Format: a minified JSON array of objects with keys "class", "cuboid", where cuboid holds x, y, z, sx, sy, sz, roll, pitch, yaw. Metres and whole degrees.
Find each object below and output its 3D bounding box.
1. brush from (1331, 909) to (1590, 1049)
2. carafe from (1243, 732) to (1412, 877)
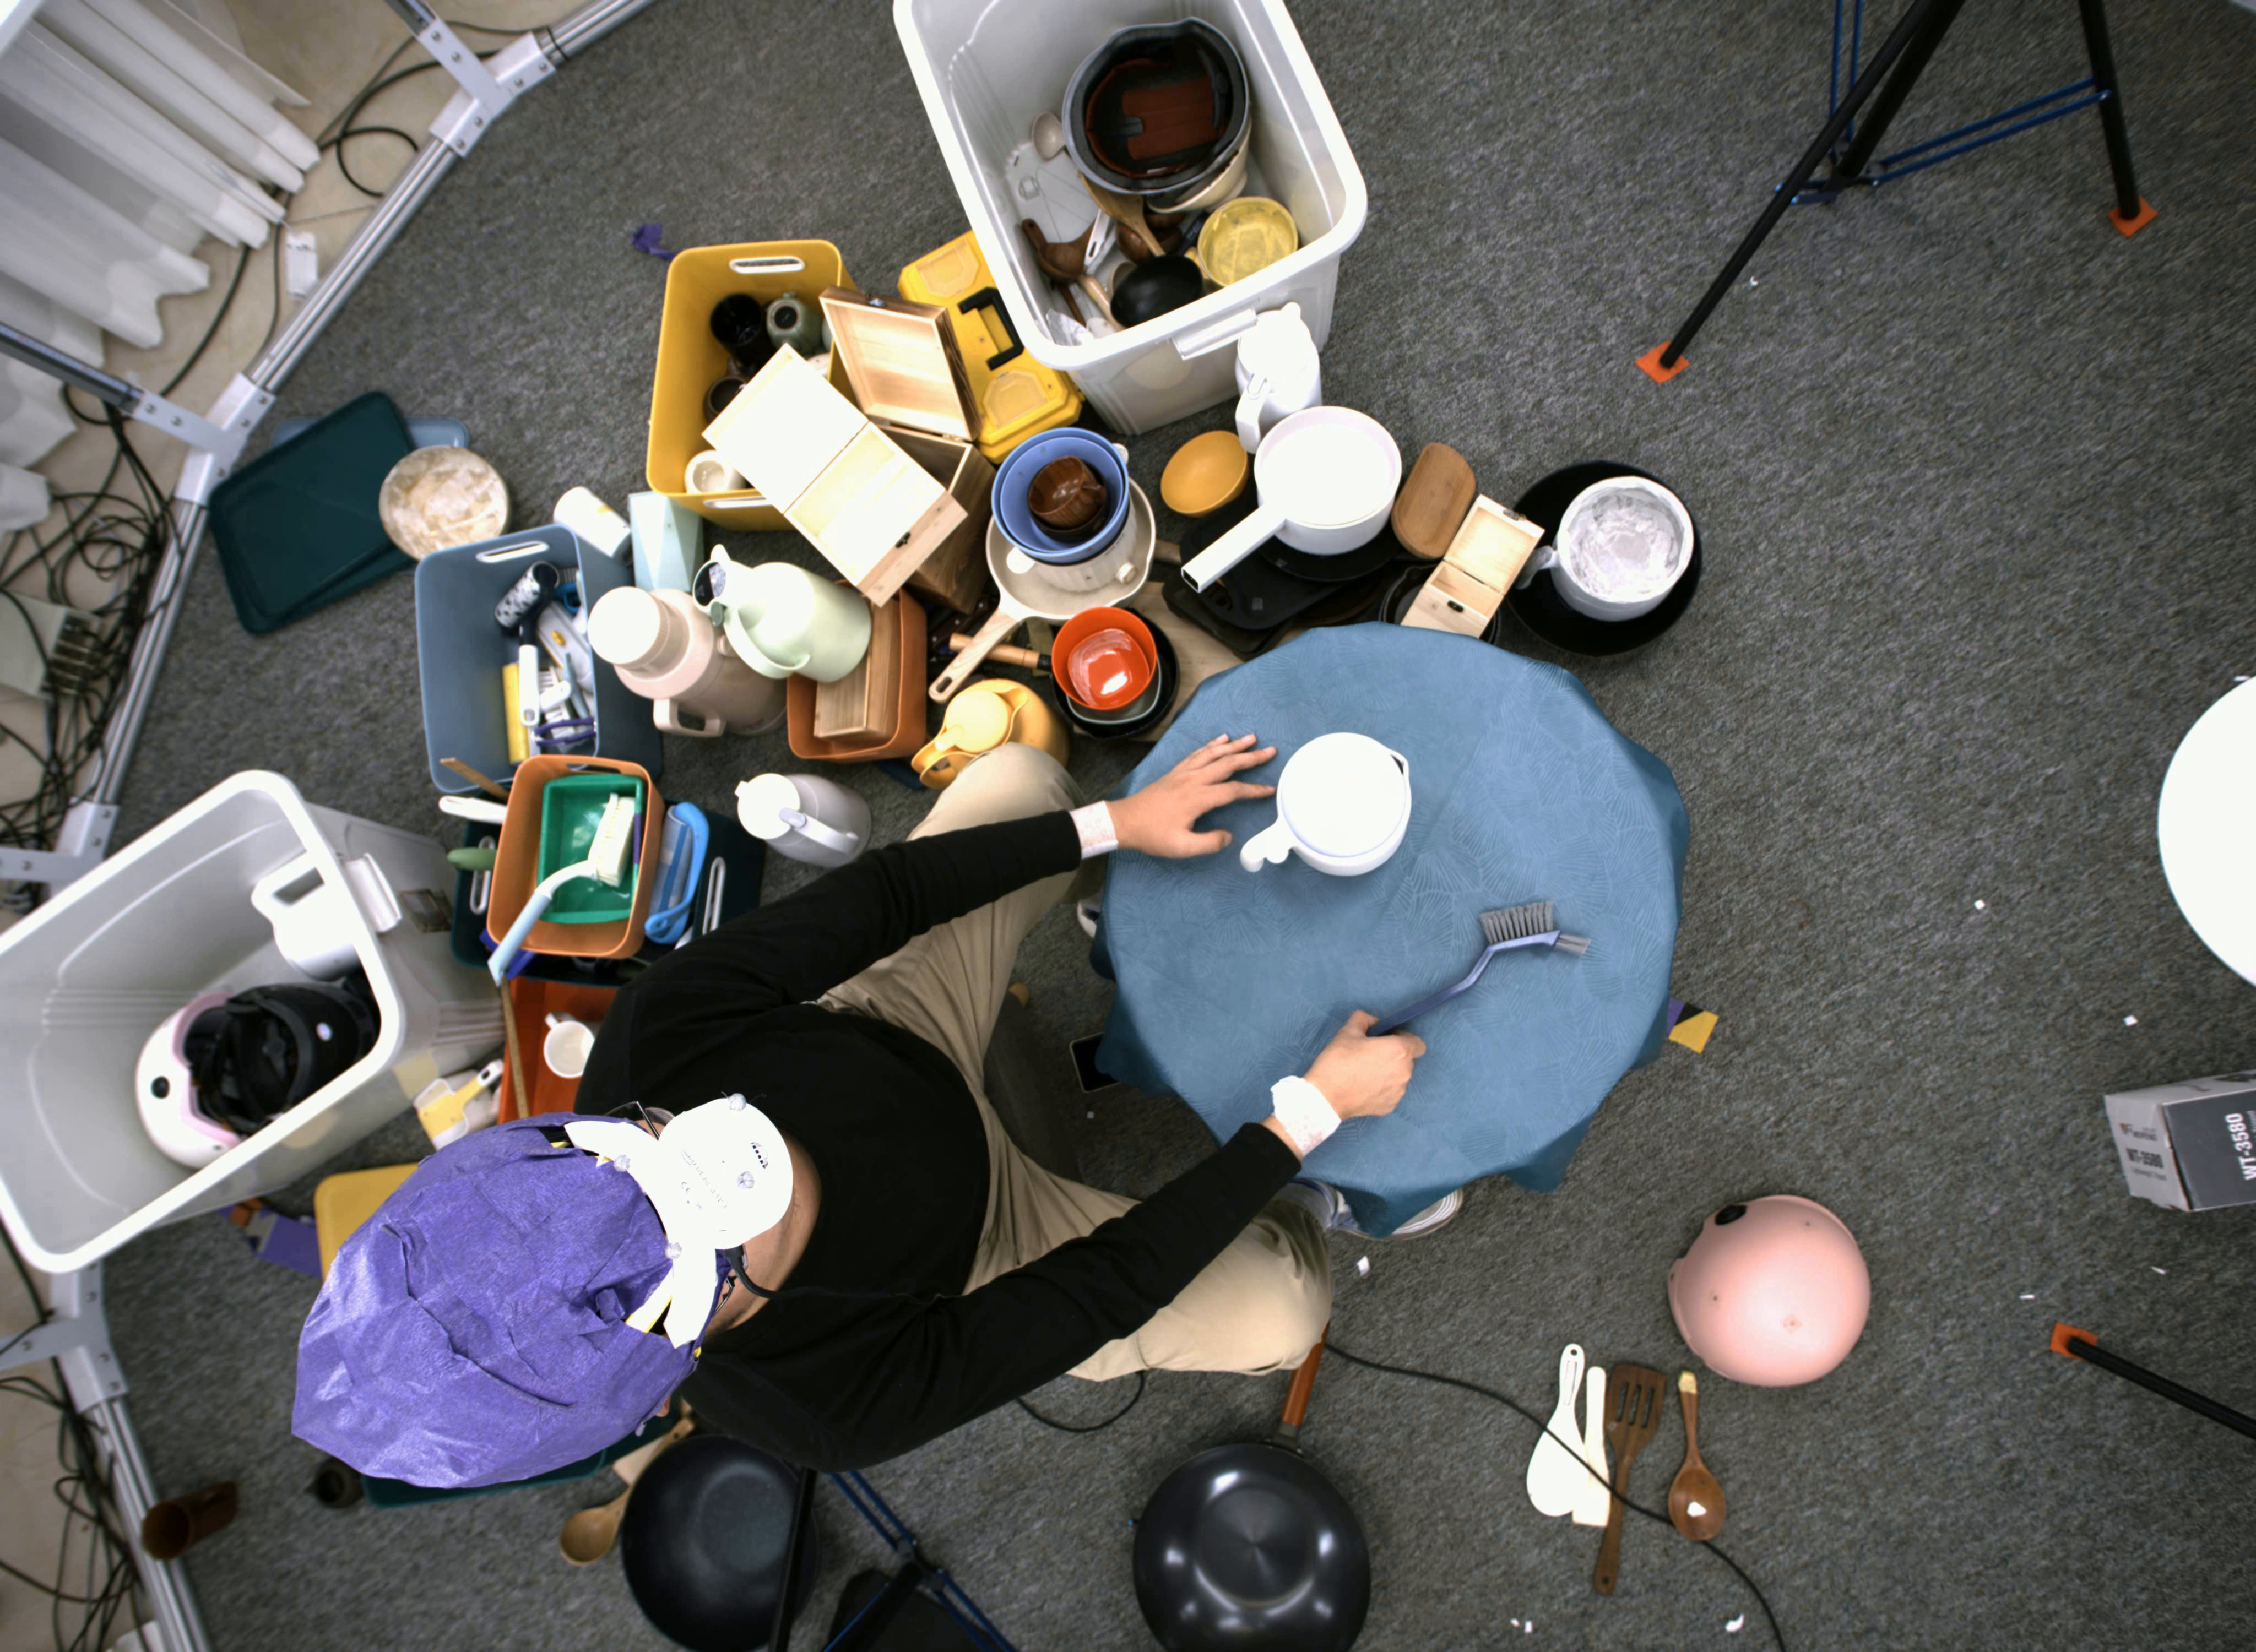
[{"class":"brush","cuboid":[0.338,0.173,1.423,0.274,0.033,0.095,-36,81,4]},{"class":"carafe","cuboid":[0.196,-0.008,1.391,0.192,0.182,0.131,-32,80,7]}]
